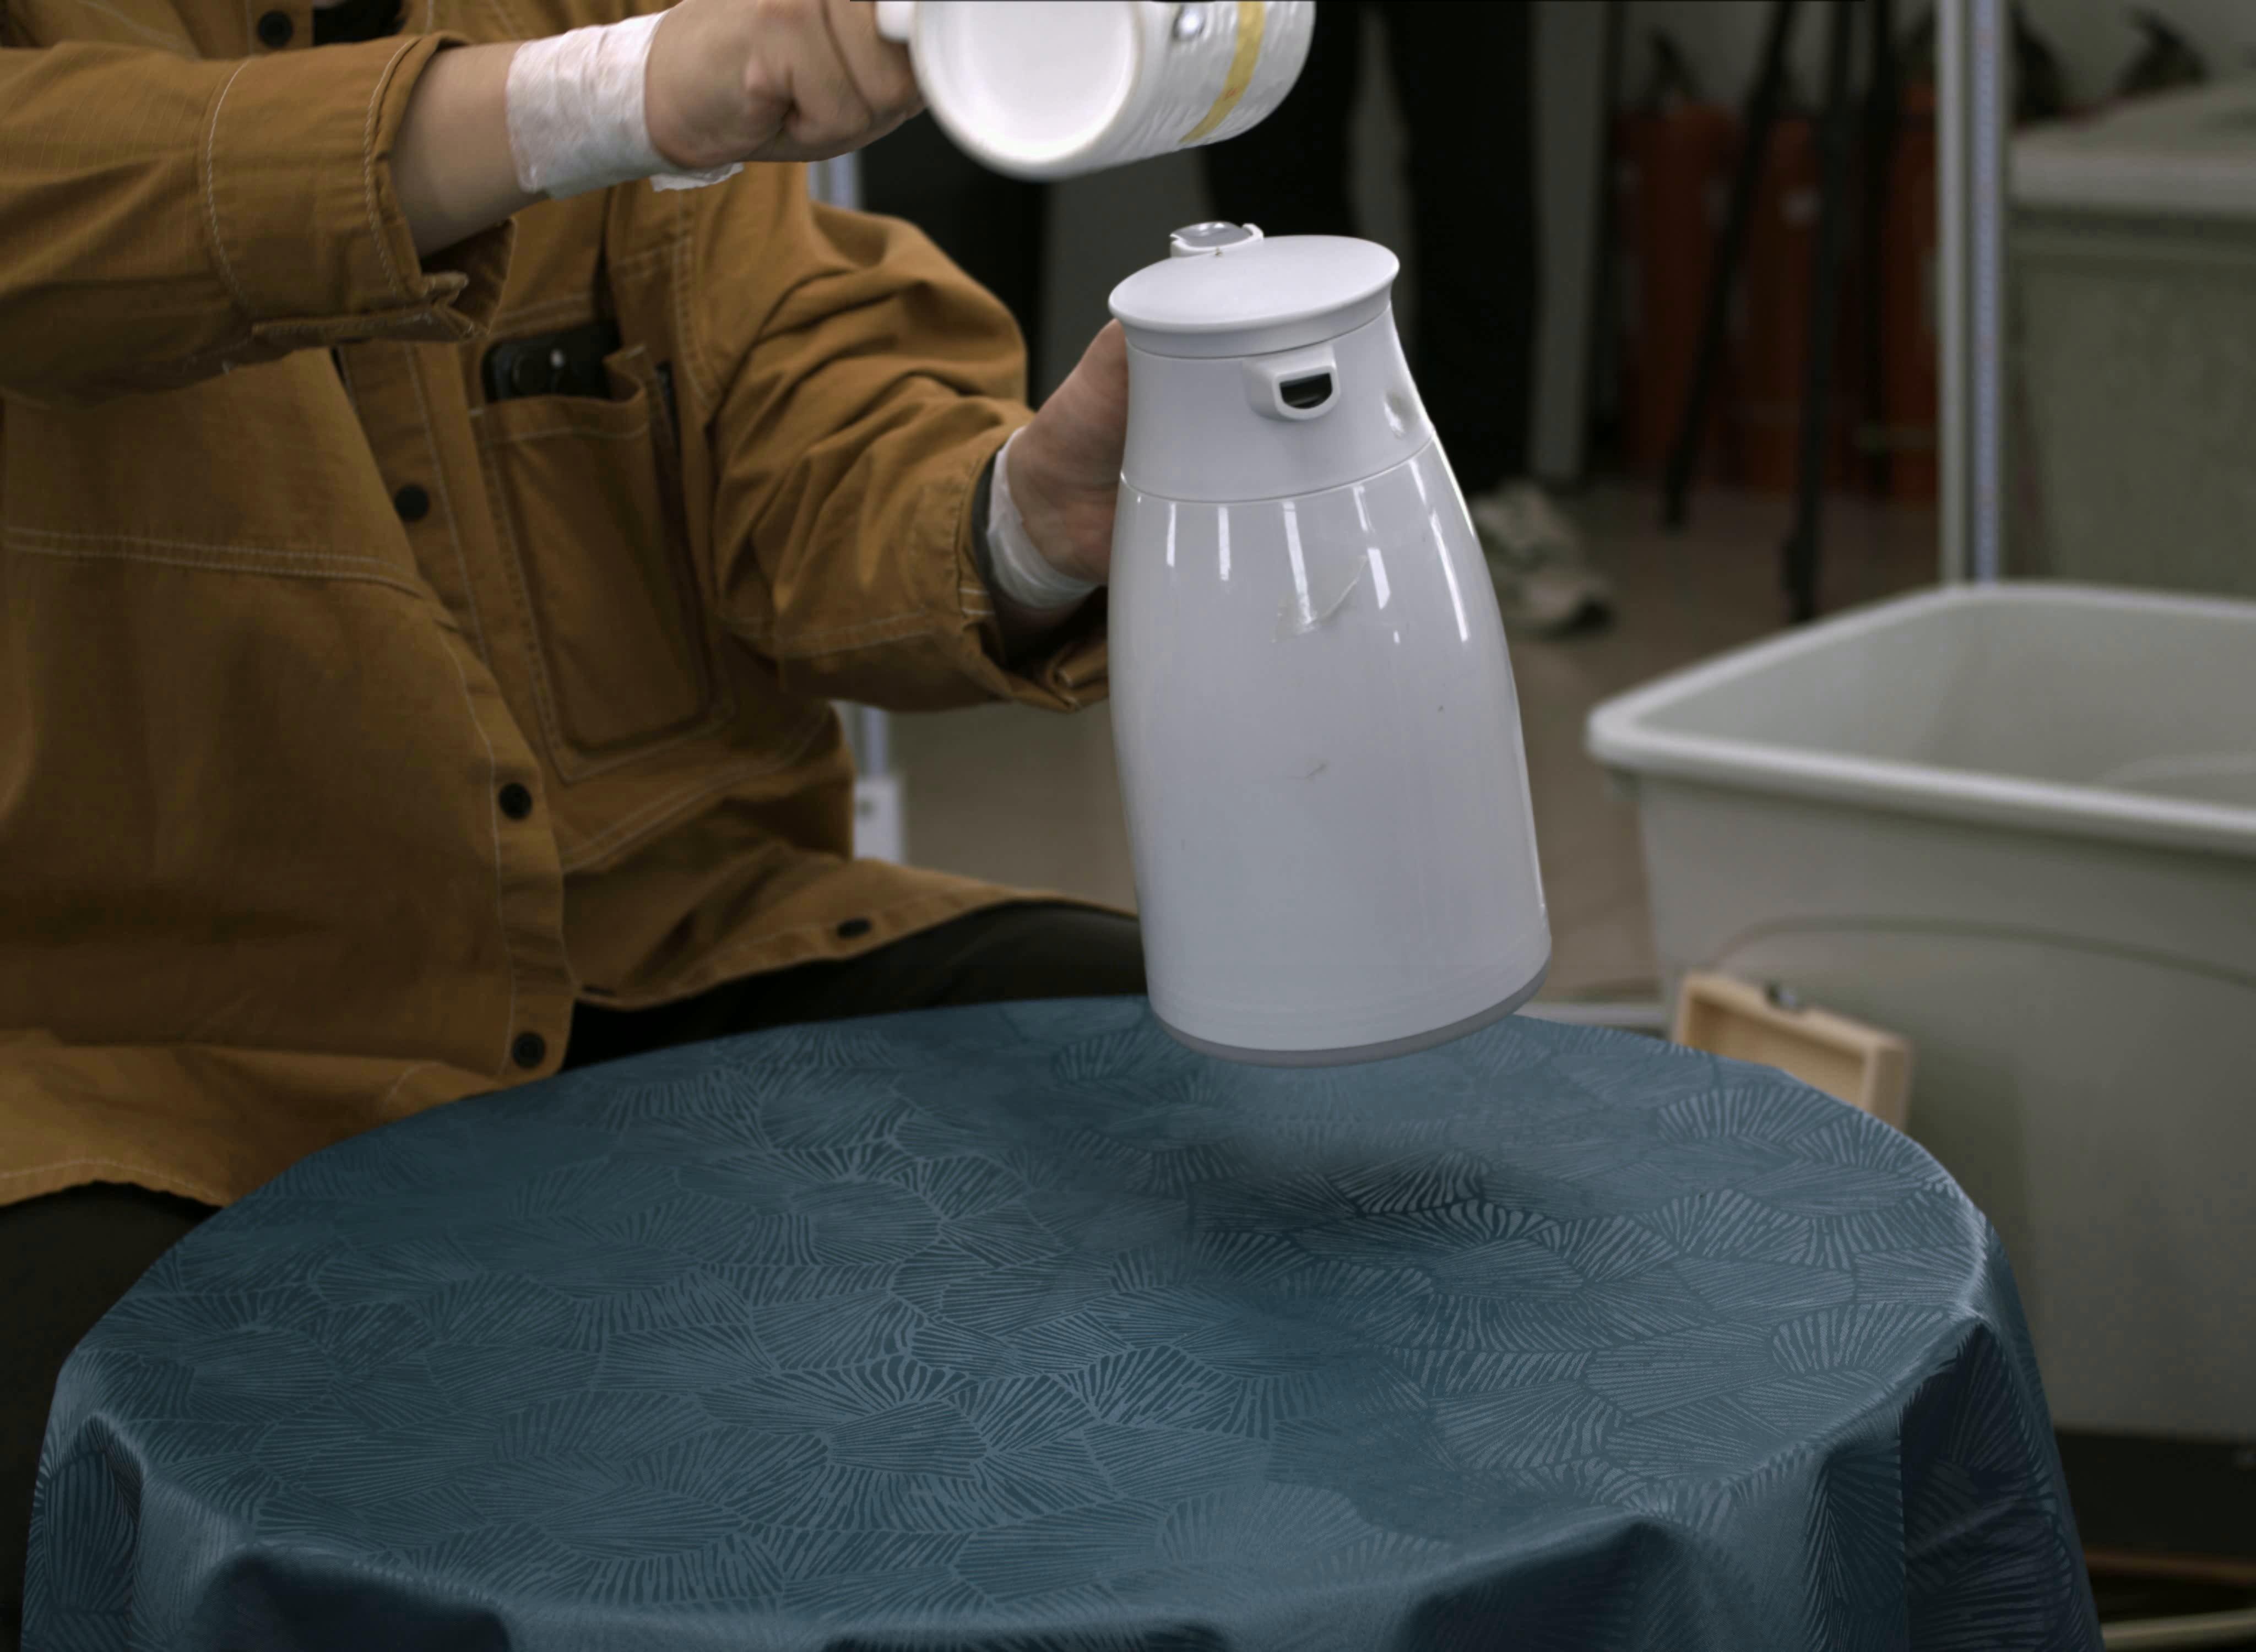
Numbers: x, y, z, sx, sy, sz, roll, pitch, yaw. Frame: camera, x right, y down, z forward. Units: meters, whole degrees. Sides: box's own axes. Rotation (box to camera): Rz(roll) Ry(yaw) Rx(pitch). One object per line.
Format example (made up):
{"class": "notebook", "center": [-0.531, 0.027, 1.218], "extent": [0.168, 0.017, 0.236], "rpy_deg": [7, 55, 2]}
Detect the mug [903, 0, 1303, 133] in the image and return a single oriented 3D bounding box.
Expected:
{"class": "mug", "center": [-0.021, -0.248, 1.580], "extent": [0.118, 0.086, 0.100], "rpy_deg": [9, 13, 28]}

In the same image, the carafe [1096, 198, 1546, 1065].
{"class": "carafe", "center": [0.047, -0.071, 1.719], "extent": [0.130, 0.250, 0.169], "rpy_deg": [-14, 20, -9]}
